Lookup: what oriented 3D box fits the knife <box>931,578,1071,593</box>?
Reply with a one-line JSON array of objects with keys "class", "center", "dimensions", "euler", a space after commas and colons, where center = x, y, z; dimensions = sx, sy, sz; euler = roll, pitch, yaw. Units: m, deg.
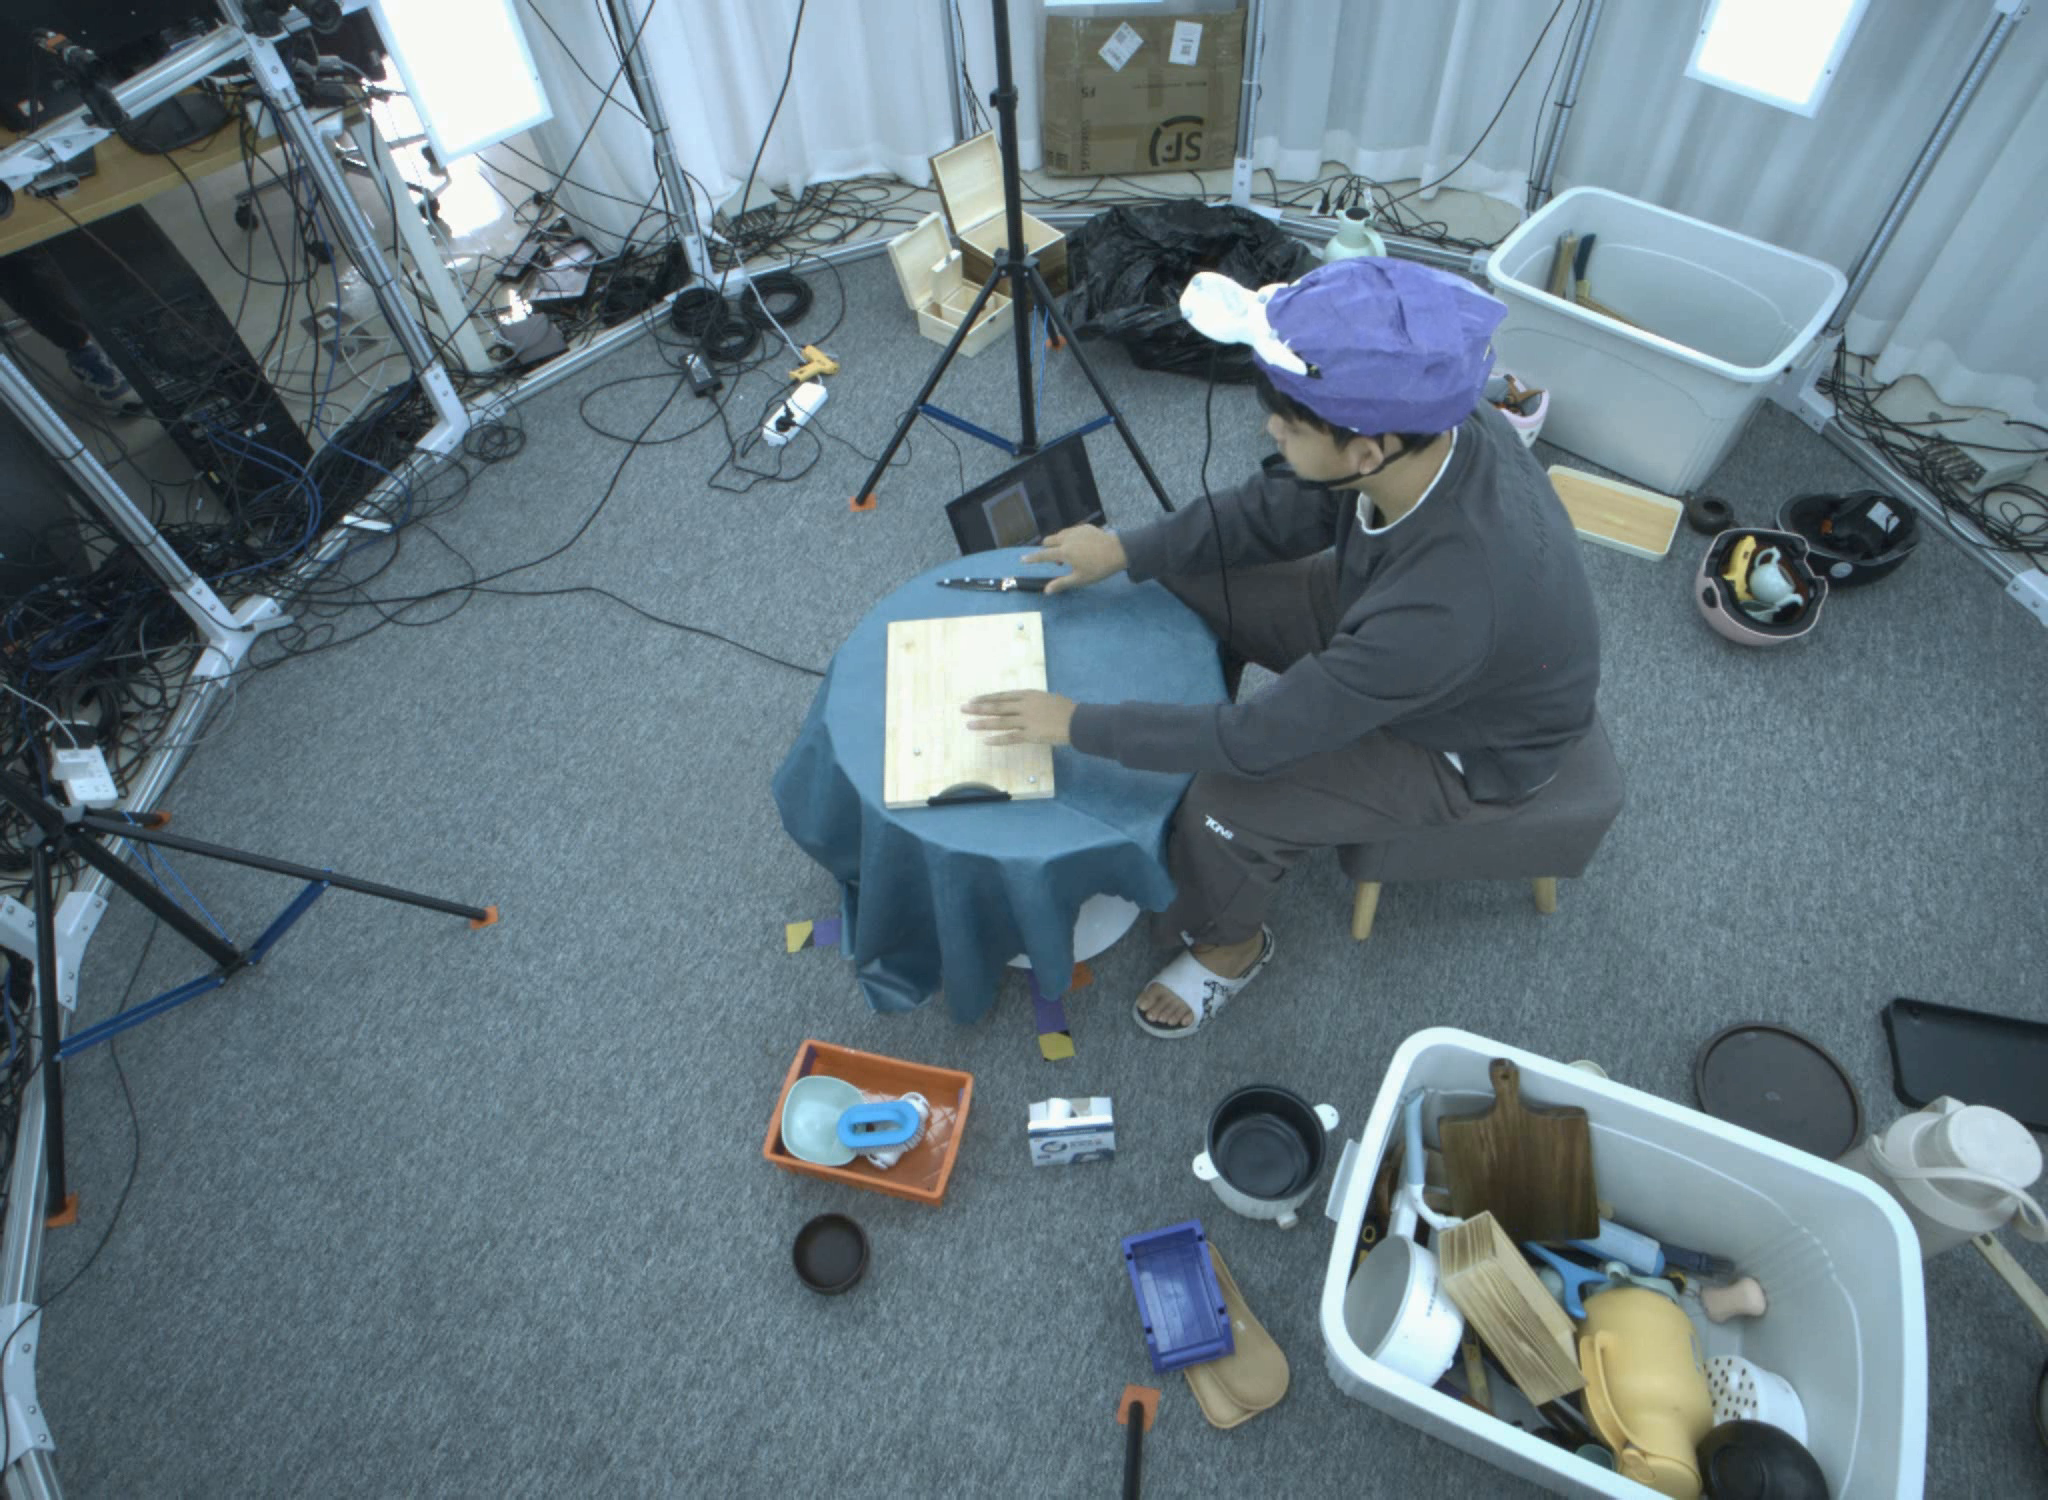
[{"class": "knife", "center": [-0.039, -0.264, 1.968], "dimensions": [0.225, 0.017, 0.026], "euler": [2, 61, 3]}]

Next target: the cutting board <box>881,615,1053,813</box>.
[{"class": "cutting board", "center": [-0.087, -0.062, 1.824], "dimensions": [0.251, 0.024, 0.344], "euler": [-4, 55, -1]}]
